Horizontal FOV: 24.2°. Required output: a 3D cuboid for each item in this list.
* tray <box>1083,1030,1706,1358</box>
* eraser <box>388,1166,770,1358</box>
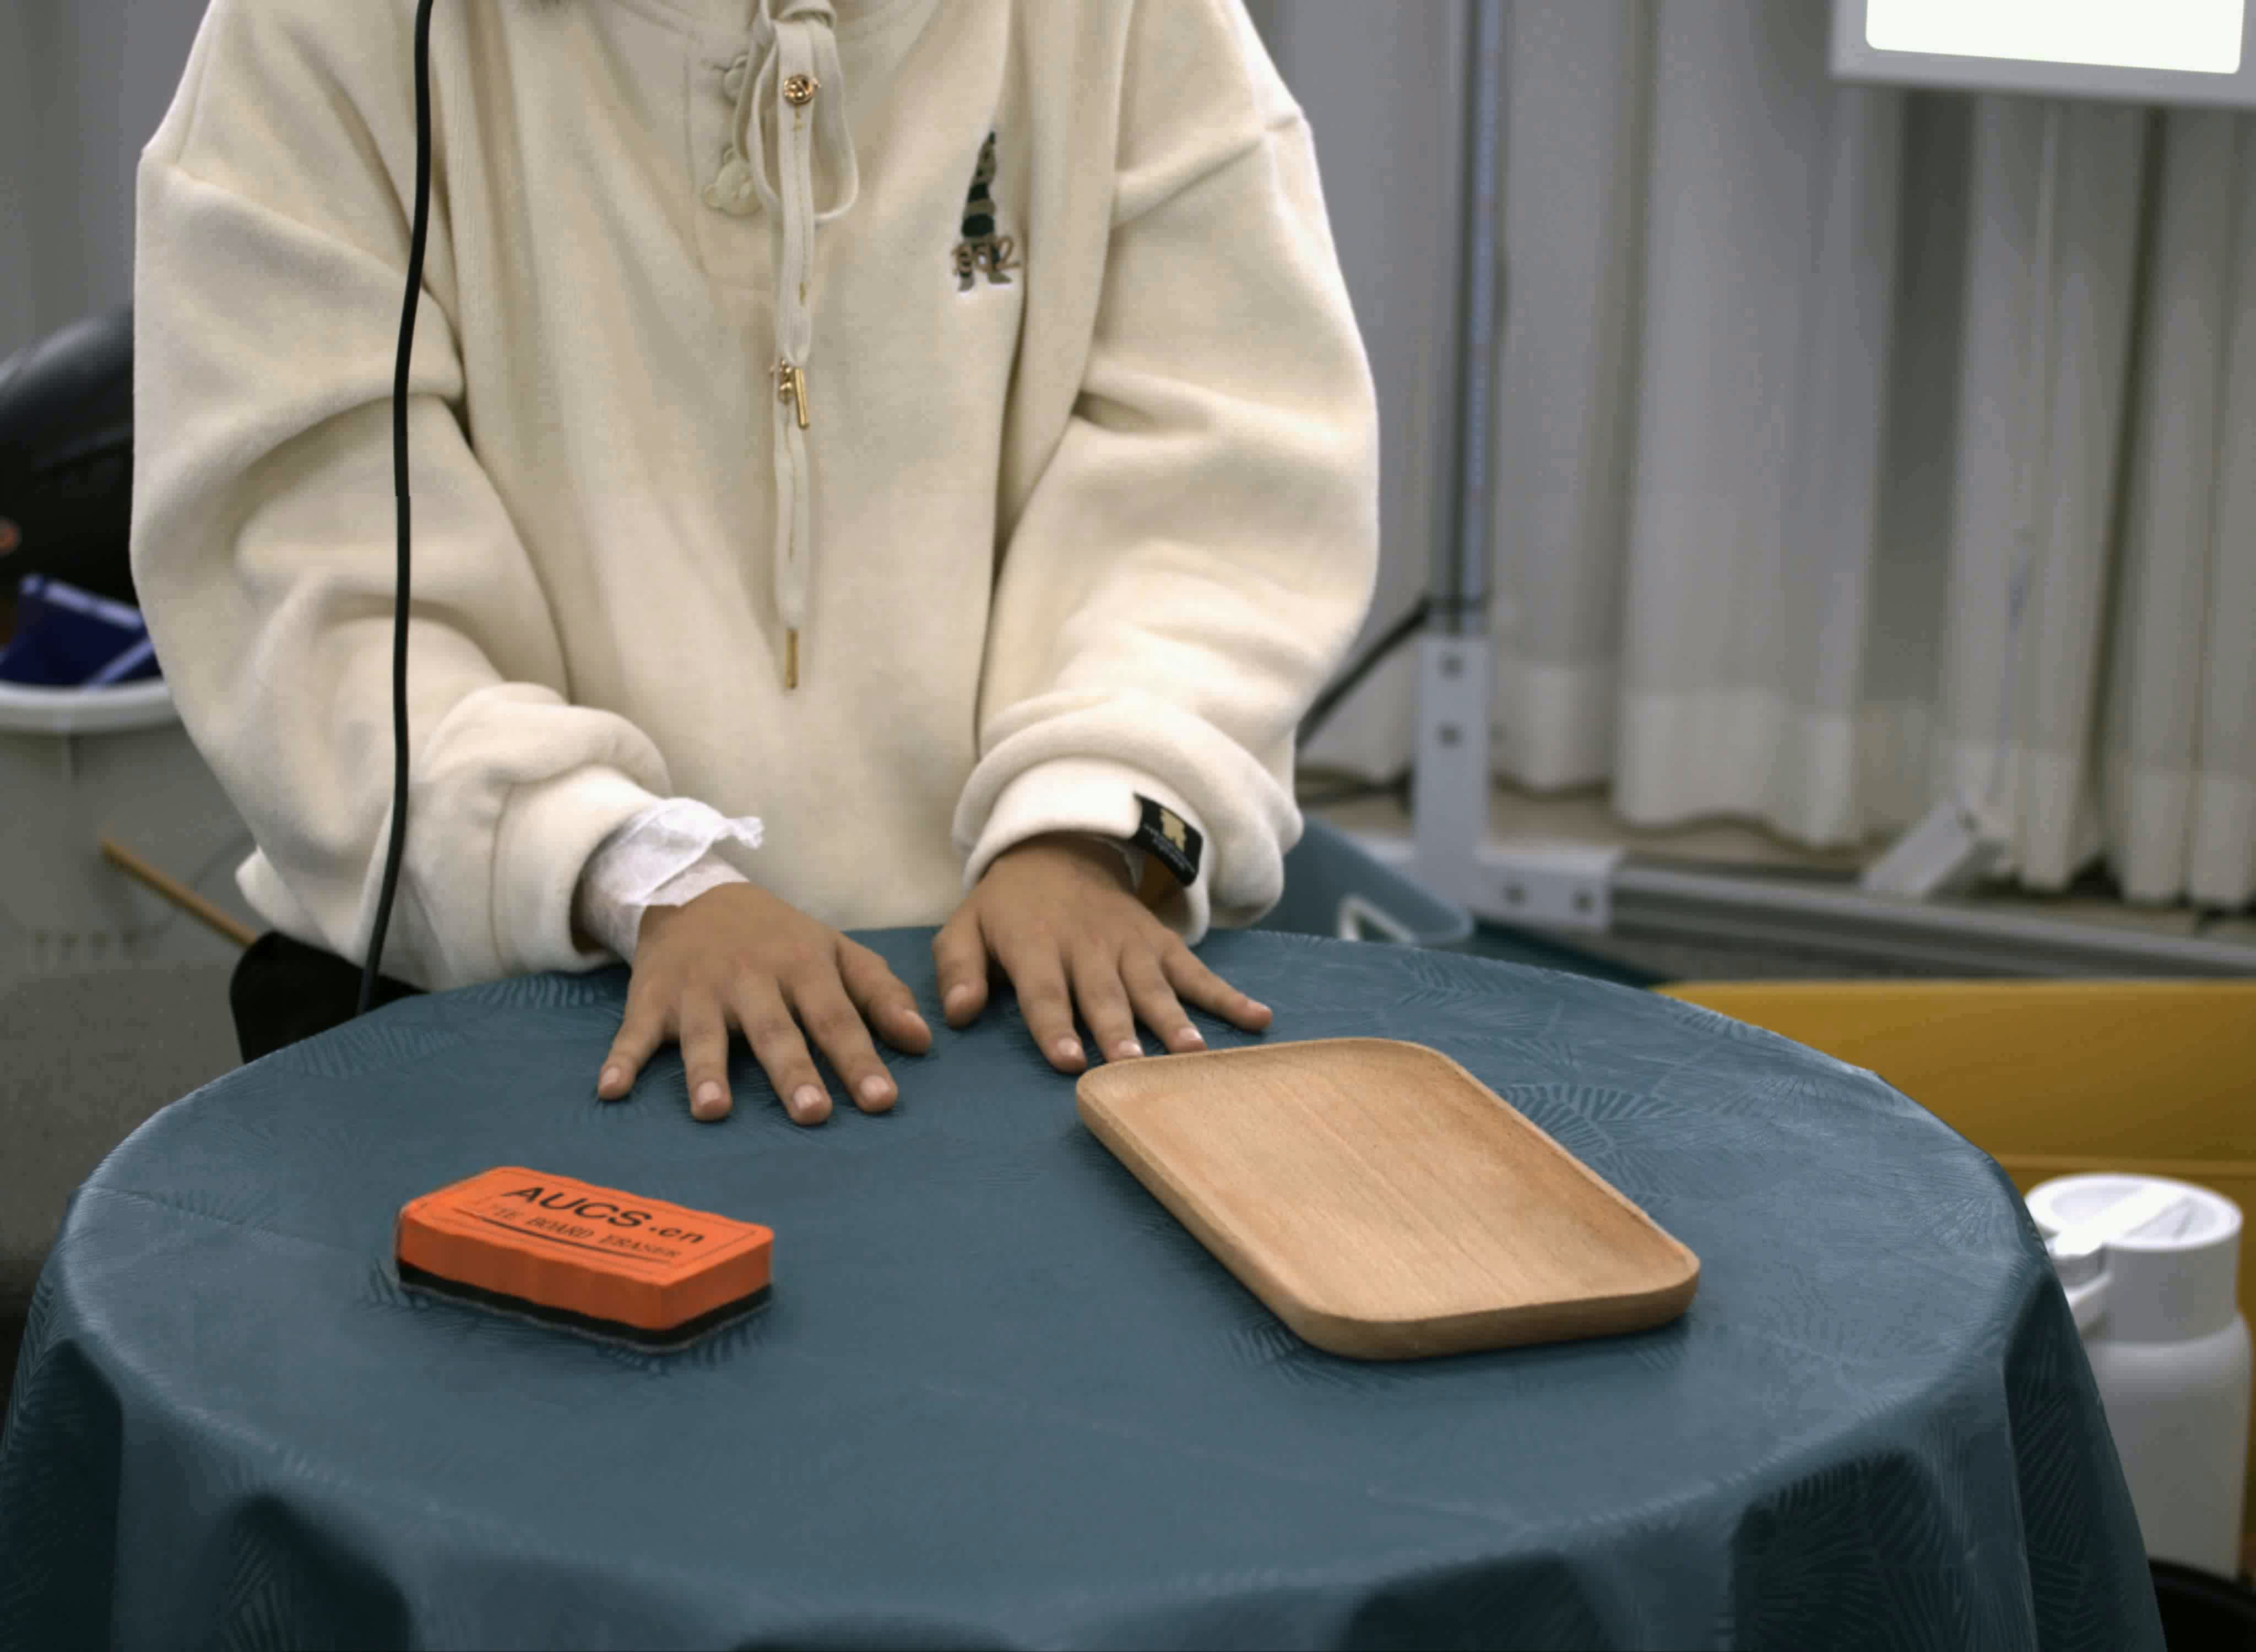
[{"bbox_3d":[0.076,0.109,1.601,0.131,0.023,0.248,-2,15,-17],"label":"tray"},{"bbox_3d":[-0.159,0.125,1.525,0.106,0.023,0.059,11,20,33],"label":"eraser"}]
